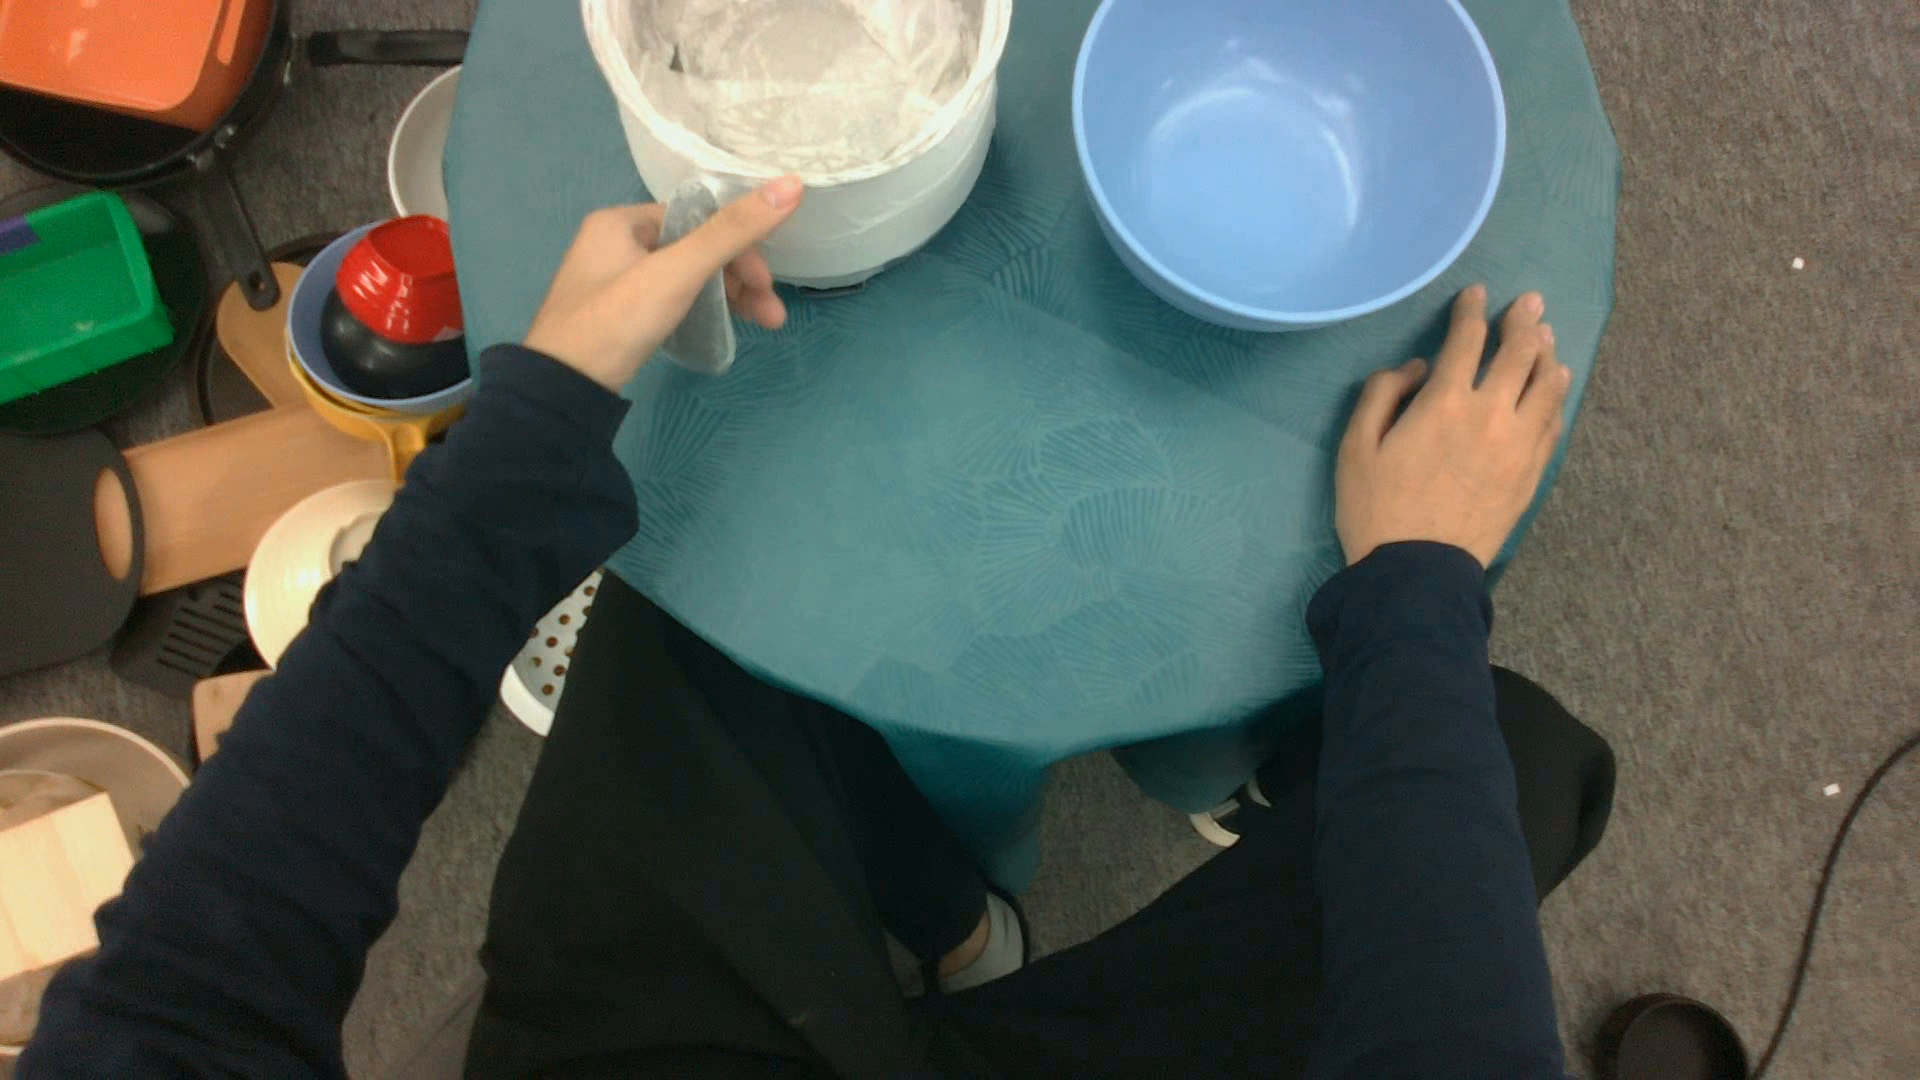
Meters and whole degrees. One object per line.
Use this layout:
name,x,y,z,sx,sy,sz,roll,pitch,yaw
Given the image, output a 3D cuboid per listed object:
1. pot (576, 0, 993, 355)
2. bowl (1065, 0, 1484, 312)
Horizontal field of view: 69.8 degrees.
pot,-0.085,-0.202,0.627,0.179,0.136,0.234,21,78,2
bowl,0.137,-0.192,0.663,0.196,0.095,0.197,2,77,-8
